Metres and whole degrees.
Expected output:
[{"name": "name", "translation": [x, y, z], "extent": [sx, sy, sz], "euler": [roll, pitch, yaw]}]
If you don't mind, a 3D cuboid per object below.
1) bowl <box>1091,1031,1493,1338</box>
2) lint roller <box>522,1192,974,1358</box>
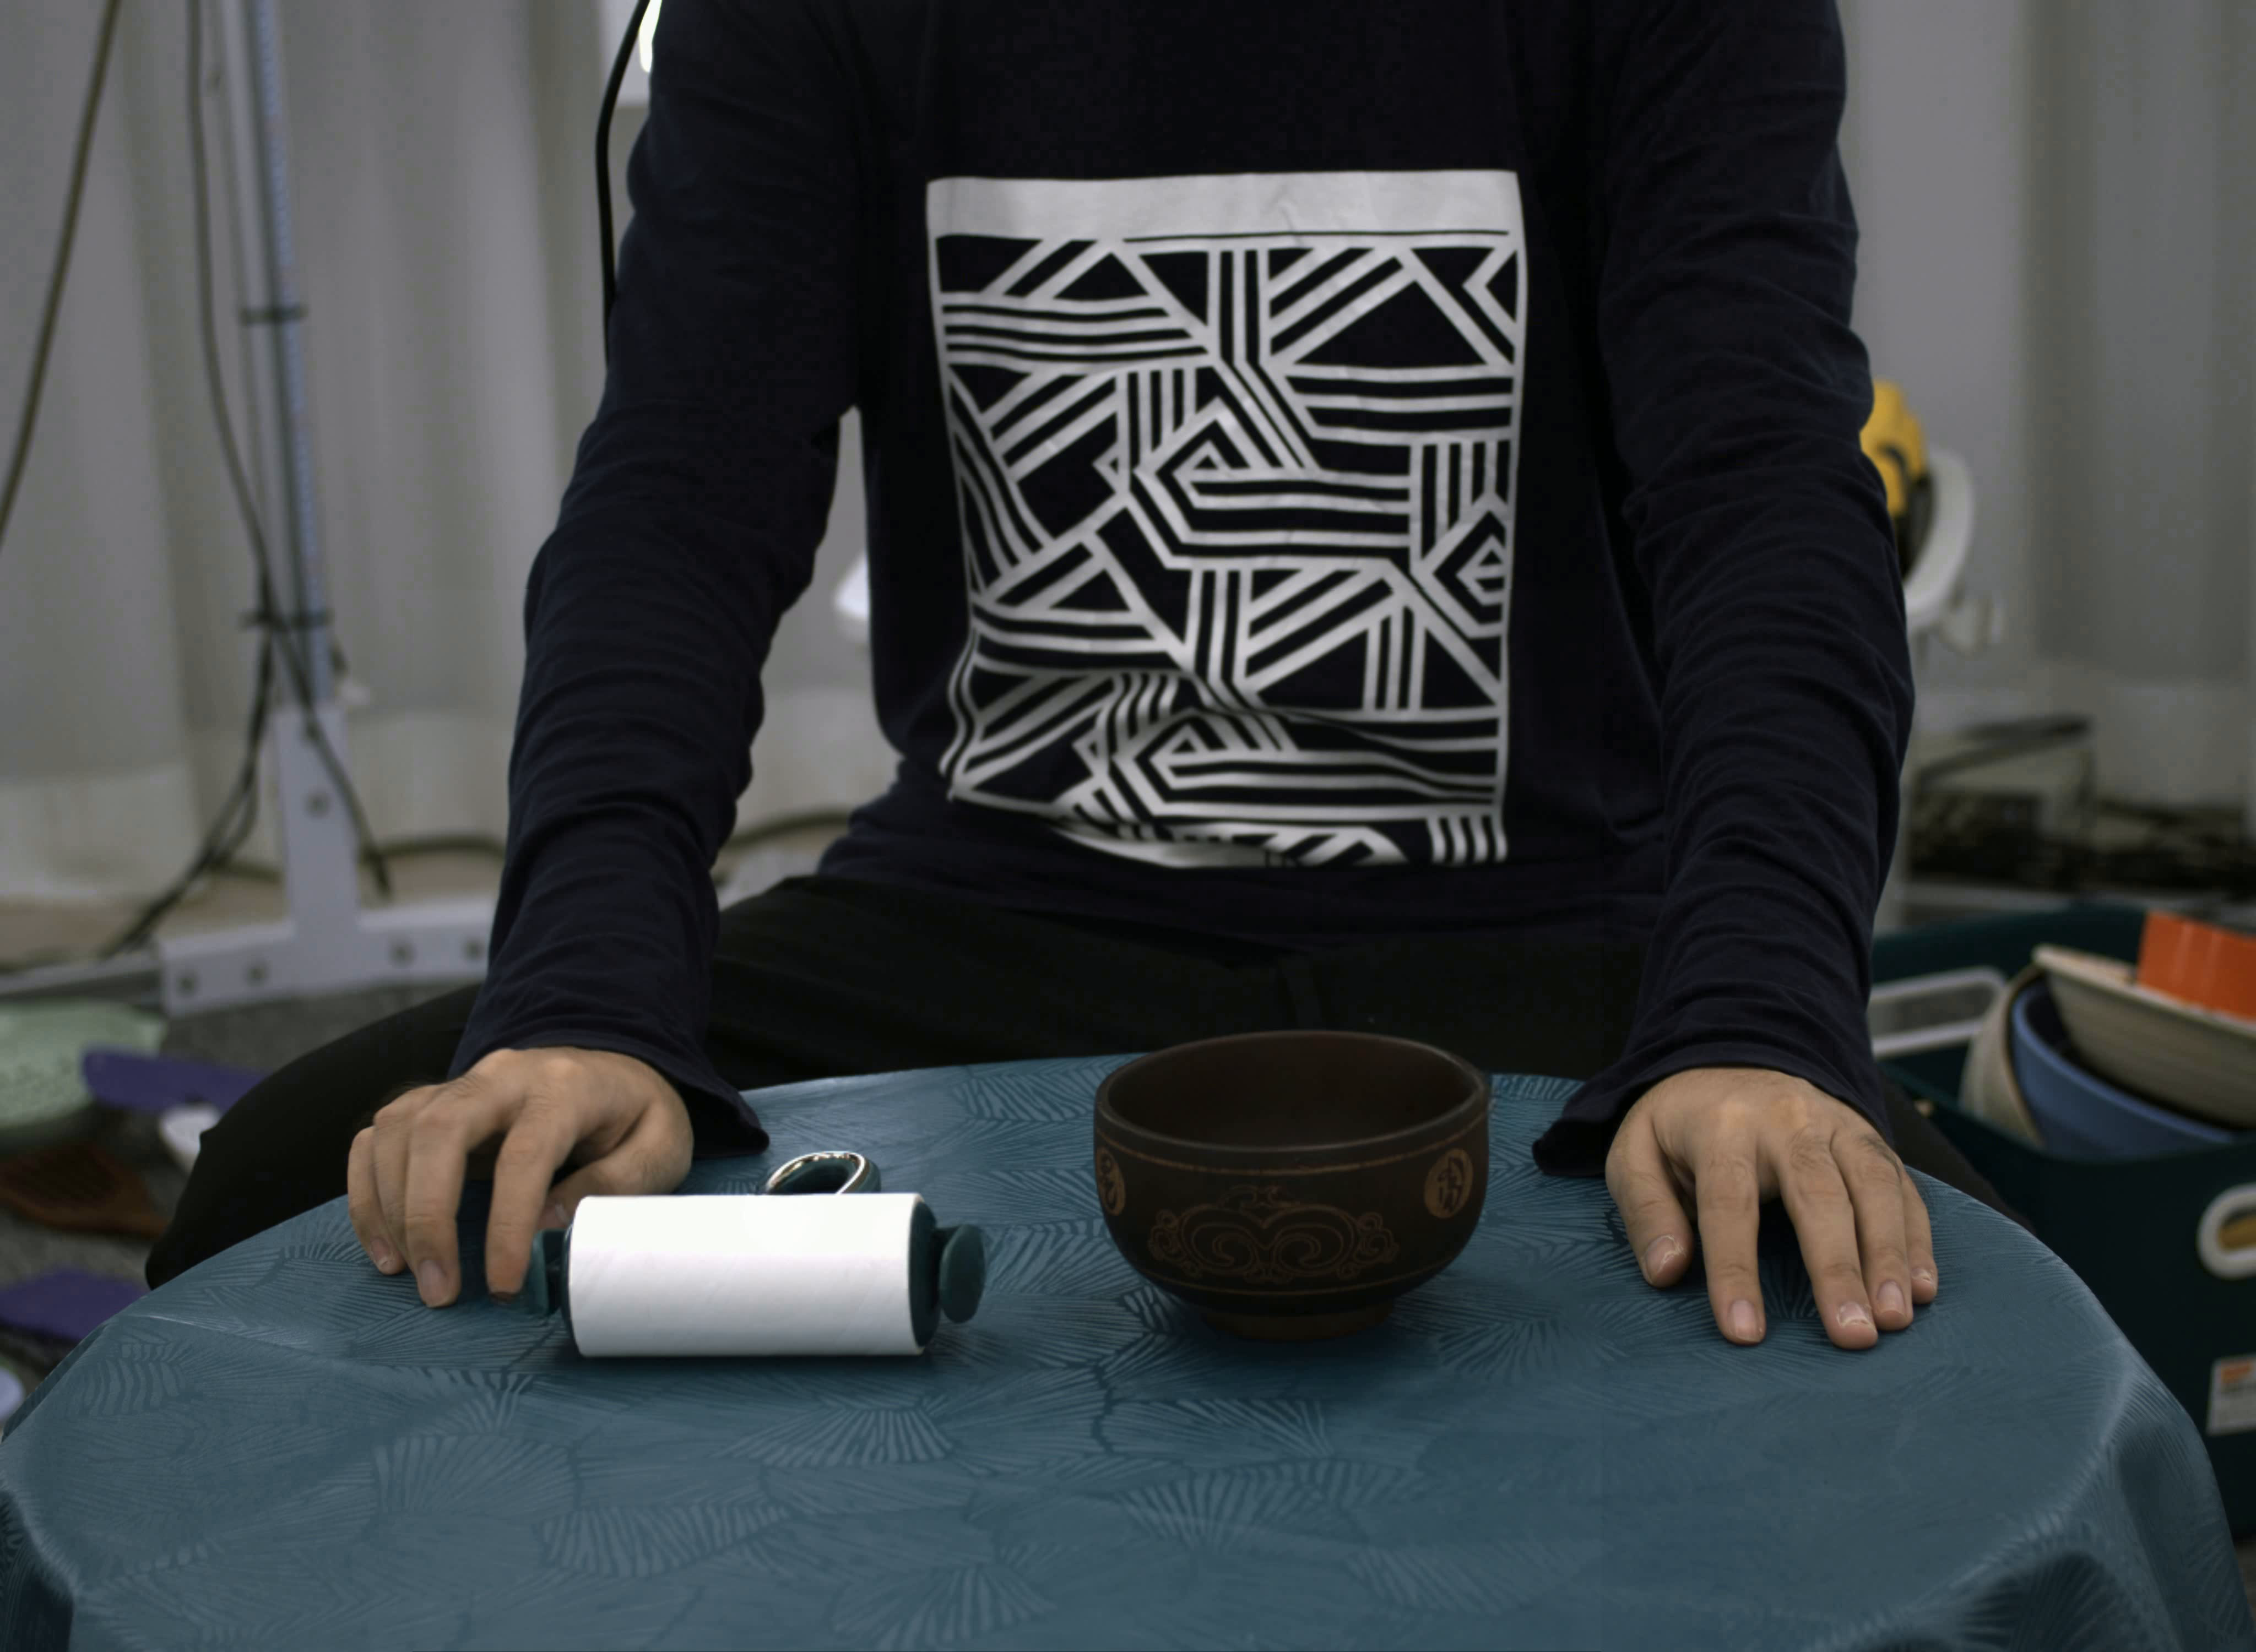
[{"name": "bowl", "translation": [0.049, 0.108, 1.595], "extent": [0.117, 0.069, 0.118], "euler": [-5, 12, 1]}, {"name": "lint roller", "translation": [-0.103, 0.117, 1.652], "extent": [0.134, 0.048, 0.181], "euler": [-1, 11, 6]}]
